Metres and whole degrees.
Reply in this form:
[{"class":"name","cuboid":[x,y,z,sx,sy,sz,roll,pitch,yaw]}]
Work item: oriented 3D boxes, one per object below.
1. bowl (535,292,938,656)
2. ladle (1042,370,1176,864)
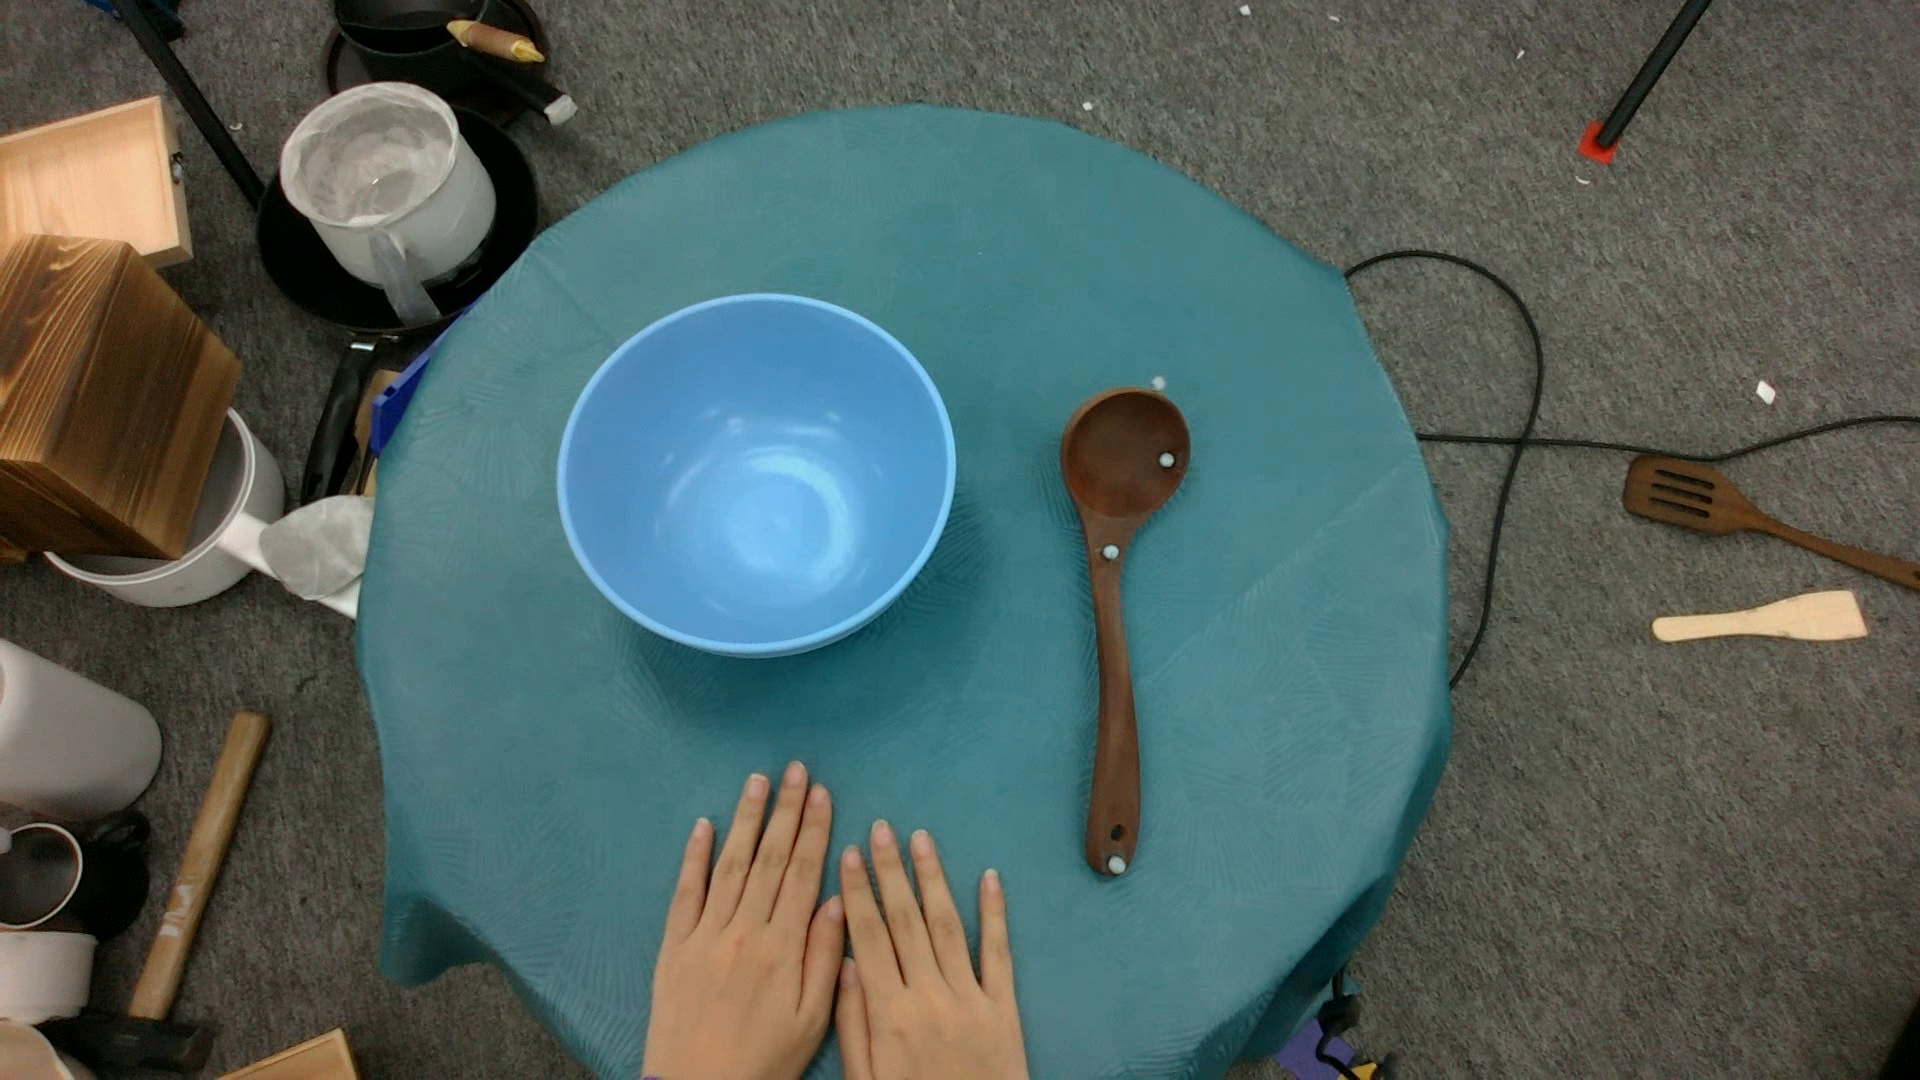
[{"class":"bowl","cuboid":[-0.114,-0.022,0.719,0.196,0.095,0.197,3,65,-7]},{"class":"ladle","cuboid":[0.078,0.034,0.721,0.076,0.065,0.261,8,67,-15]}]
